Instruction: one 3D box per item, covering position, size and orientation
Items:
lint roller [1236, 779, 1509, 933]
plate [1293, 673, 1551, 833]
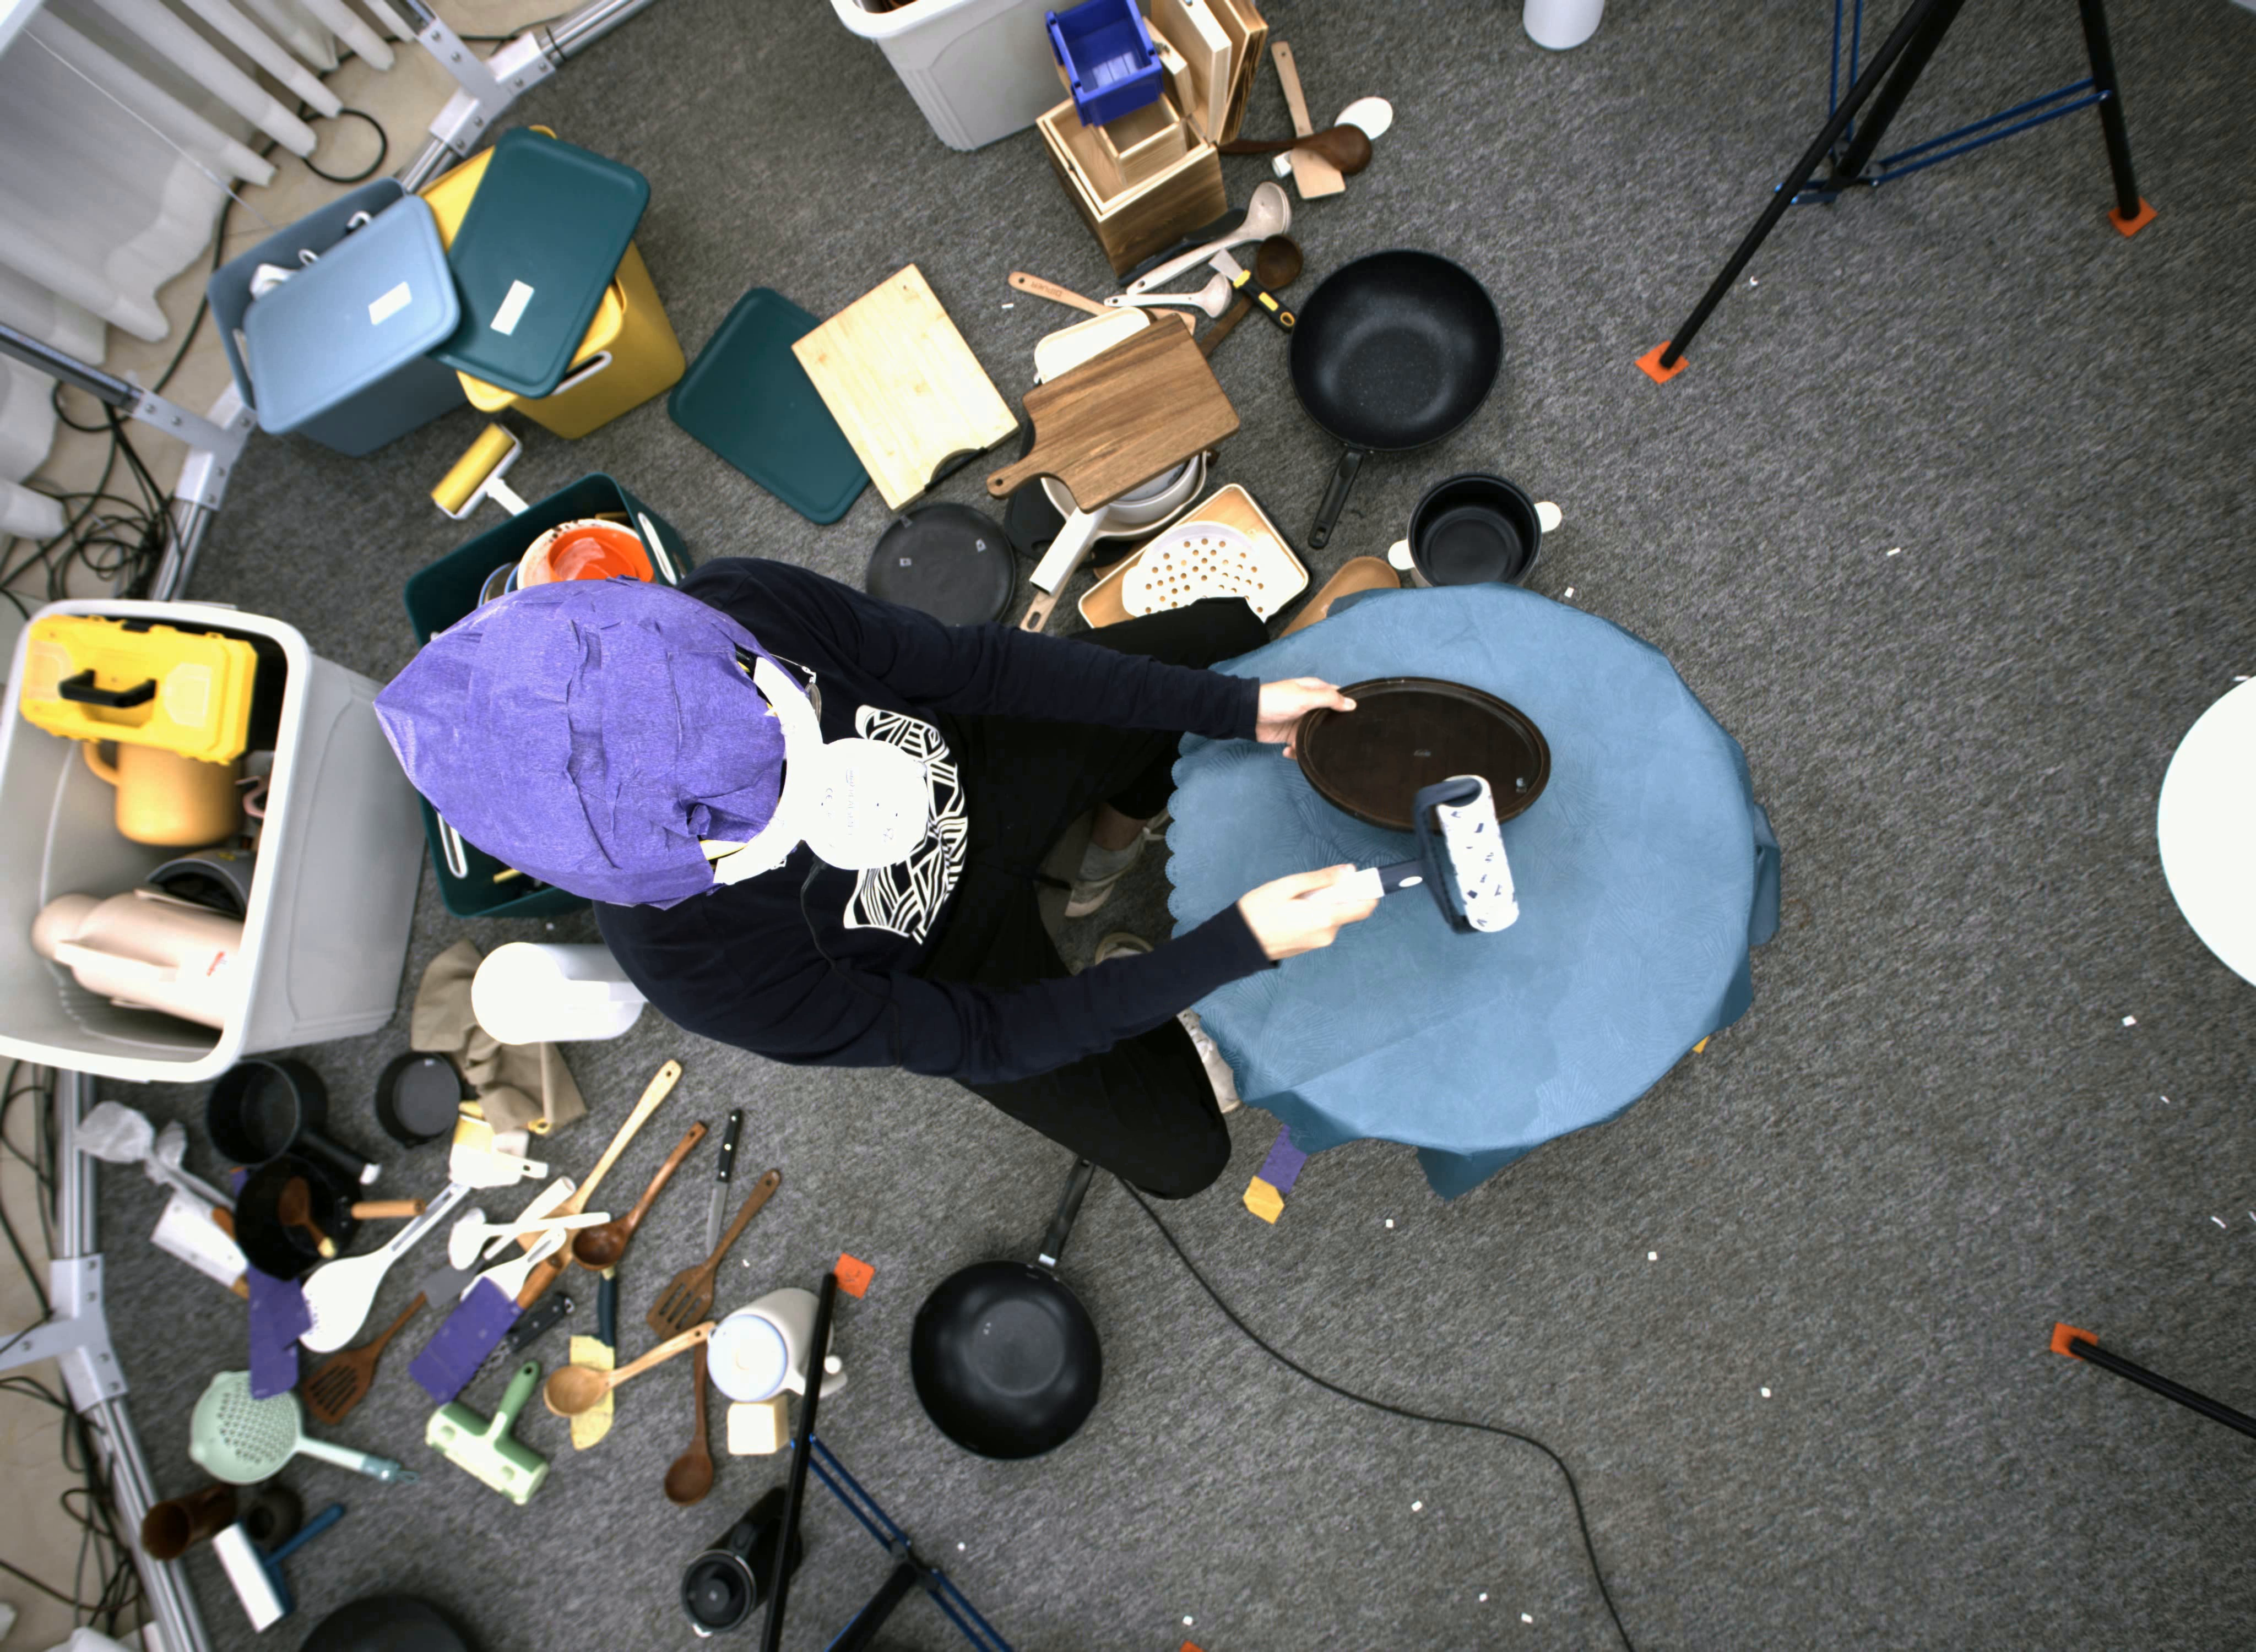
[{"bbox_3d":[0.221,0.055,1.290,0.249,0.179,0.049,-17,41,14],"label":"lint roller"},{"bbox_3d":[0.291,-0.076,1.370,0.255,0.248,0.030,-3,130,2],"label":"plate"}]
